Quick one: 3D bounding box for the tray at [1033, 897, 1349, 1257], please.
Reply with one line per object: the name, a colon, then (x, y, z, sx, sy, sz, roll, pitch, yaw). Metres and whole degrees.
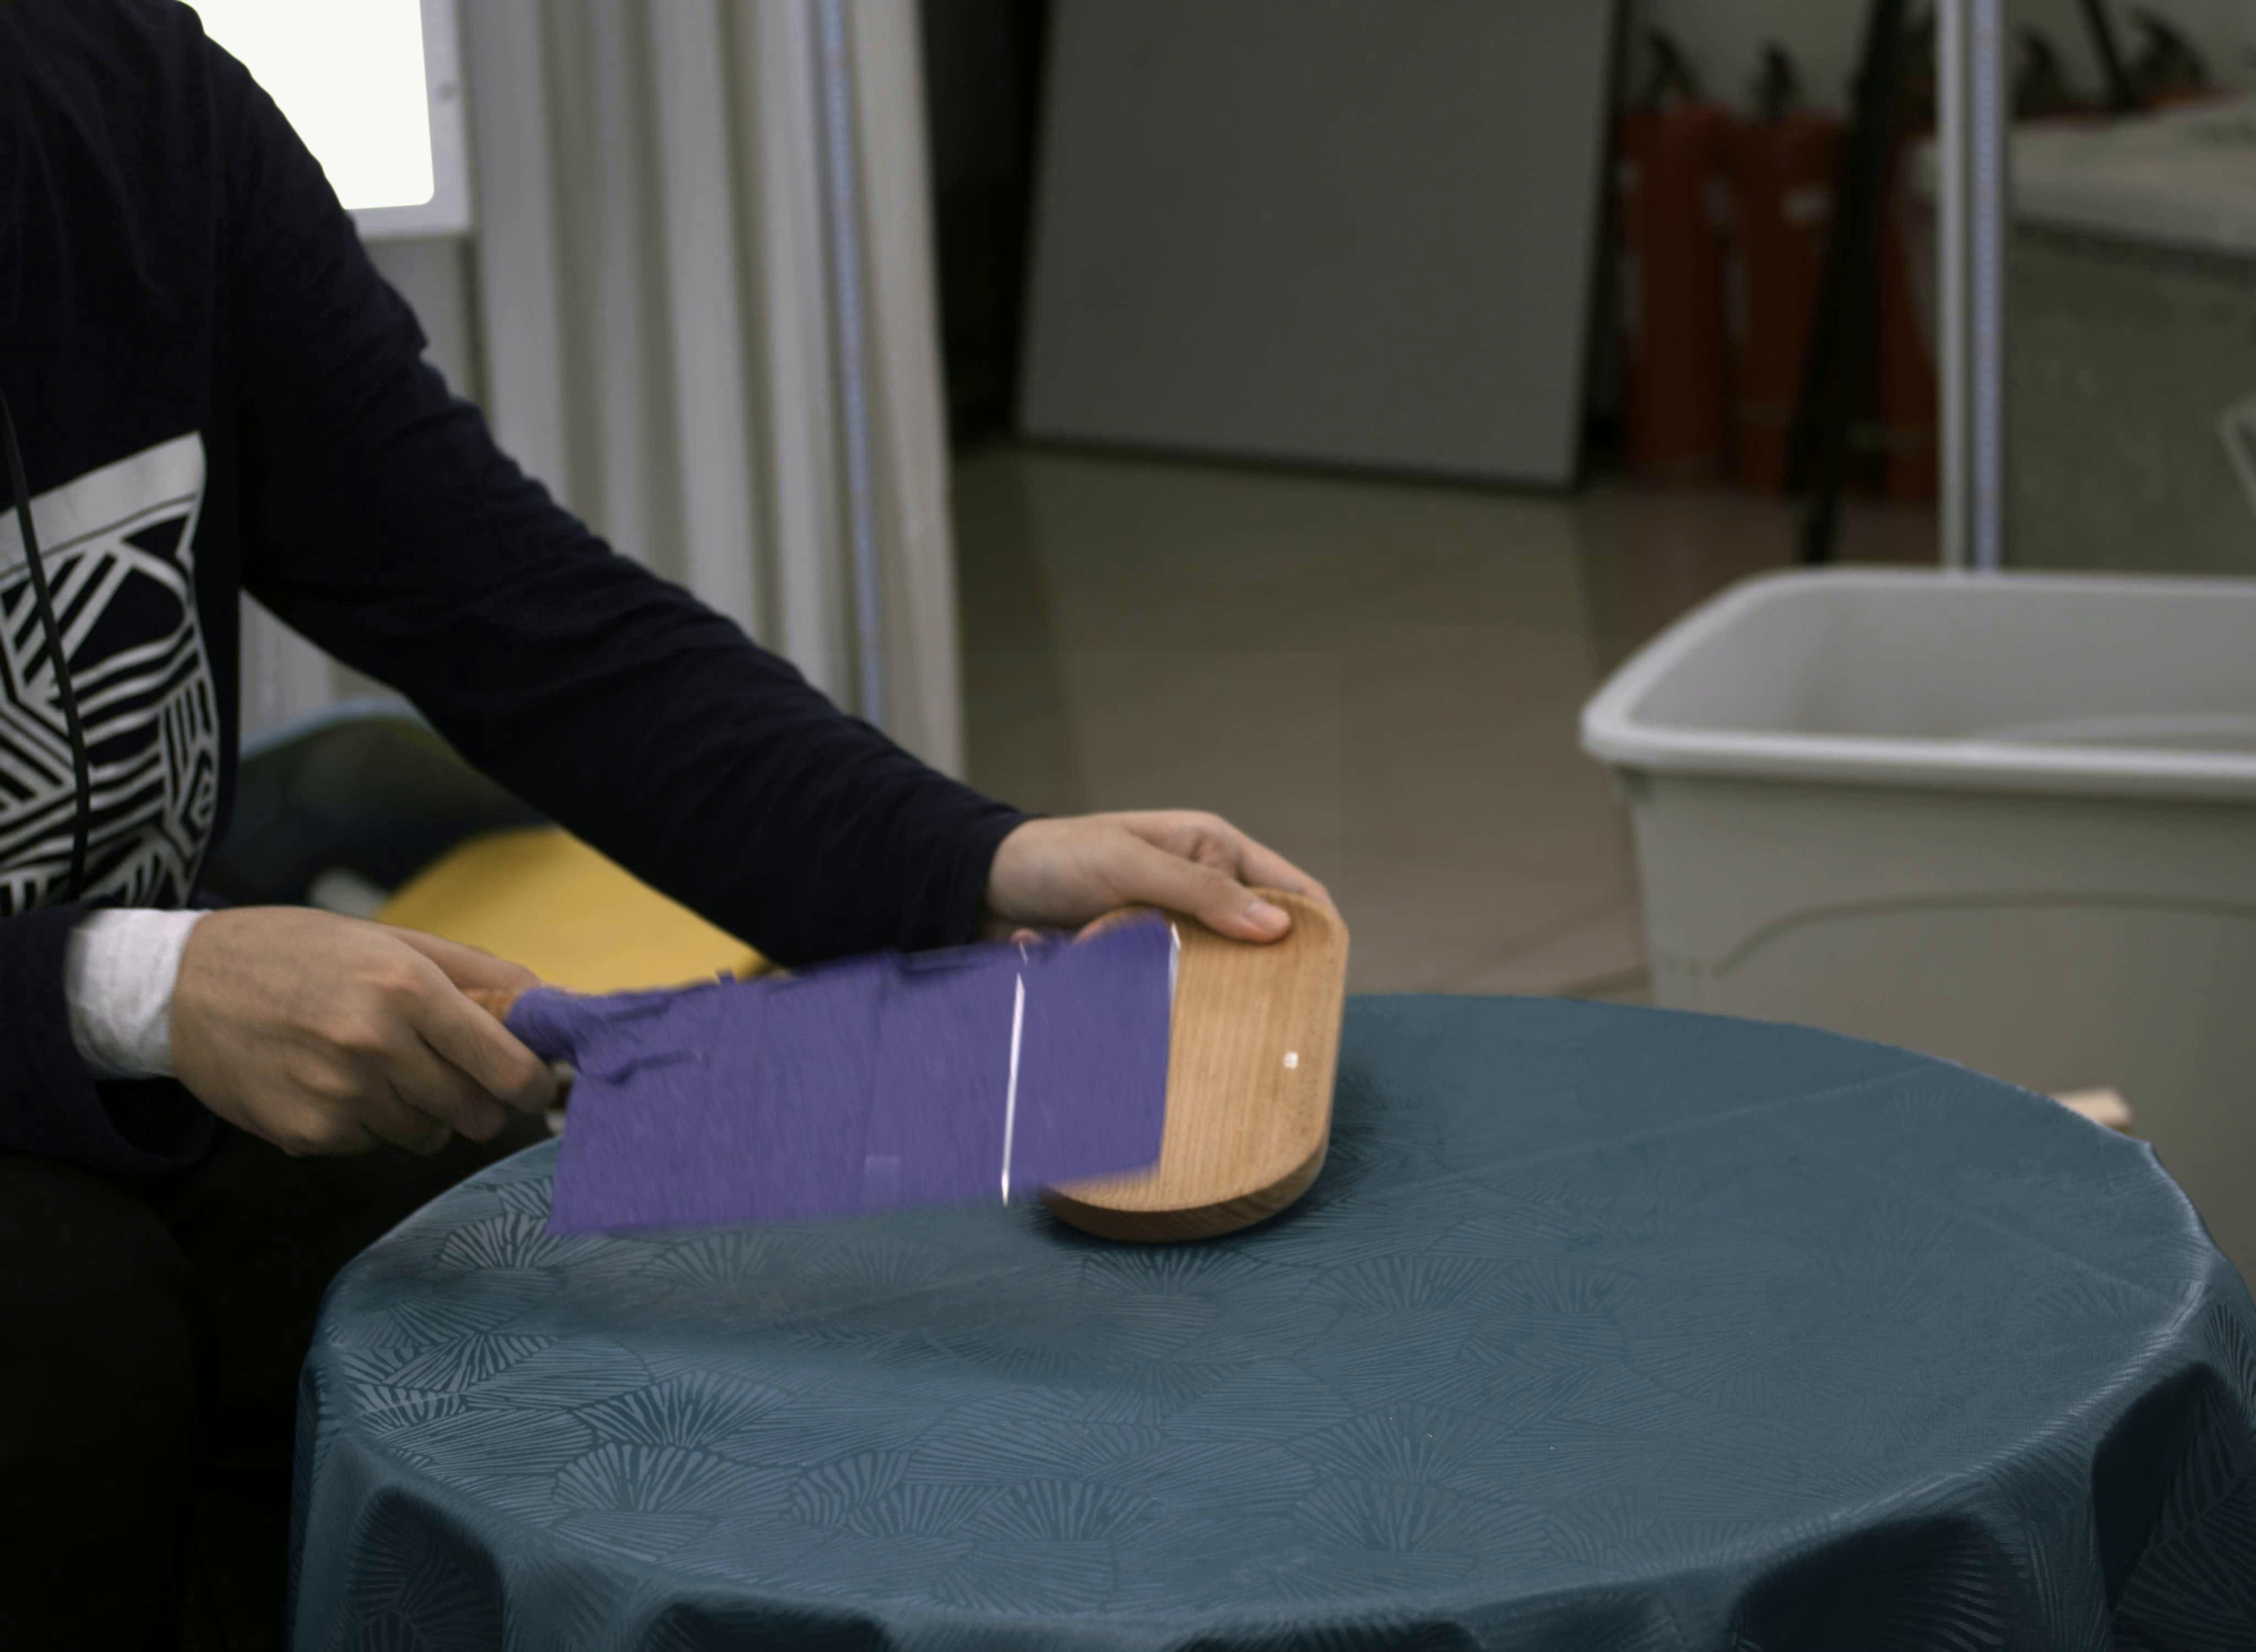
tray: (0.023, 0.082, 1.812, 0.101, 0.020, 0.231, -6, 26, 7)

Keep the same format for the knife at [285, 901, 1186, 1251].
knife: (-0.129, 0.086, 1.682, 0.315, 0.032, 0.104, -9, 53, 24)
